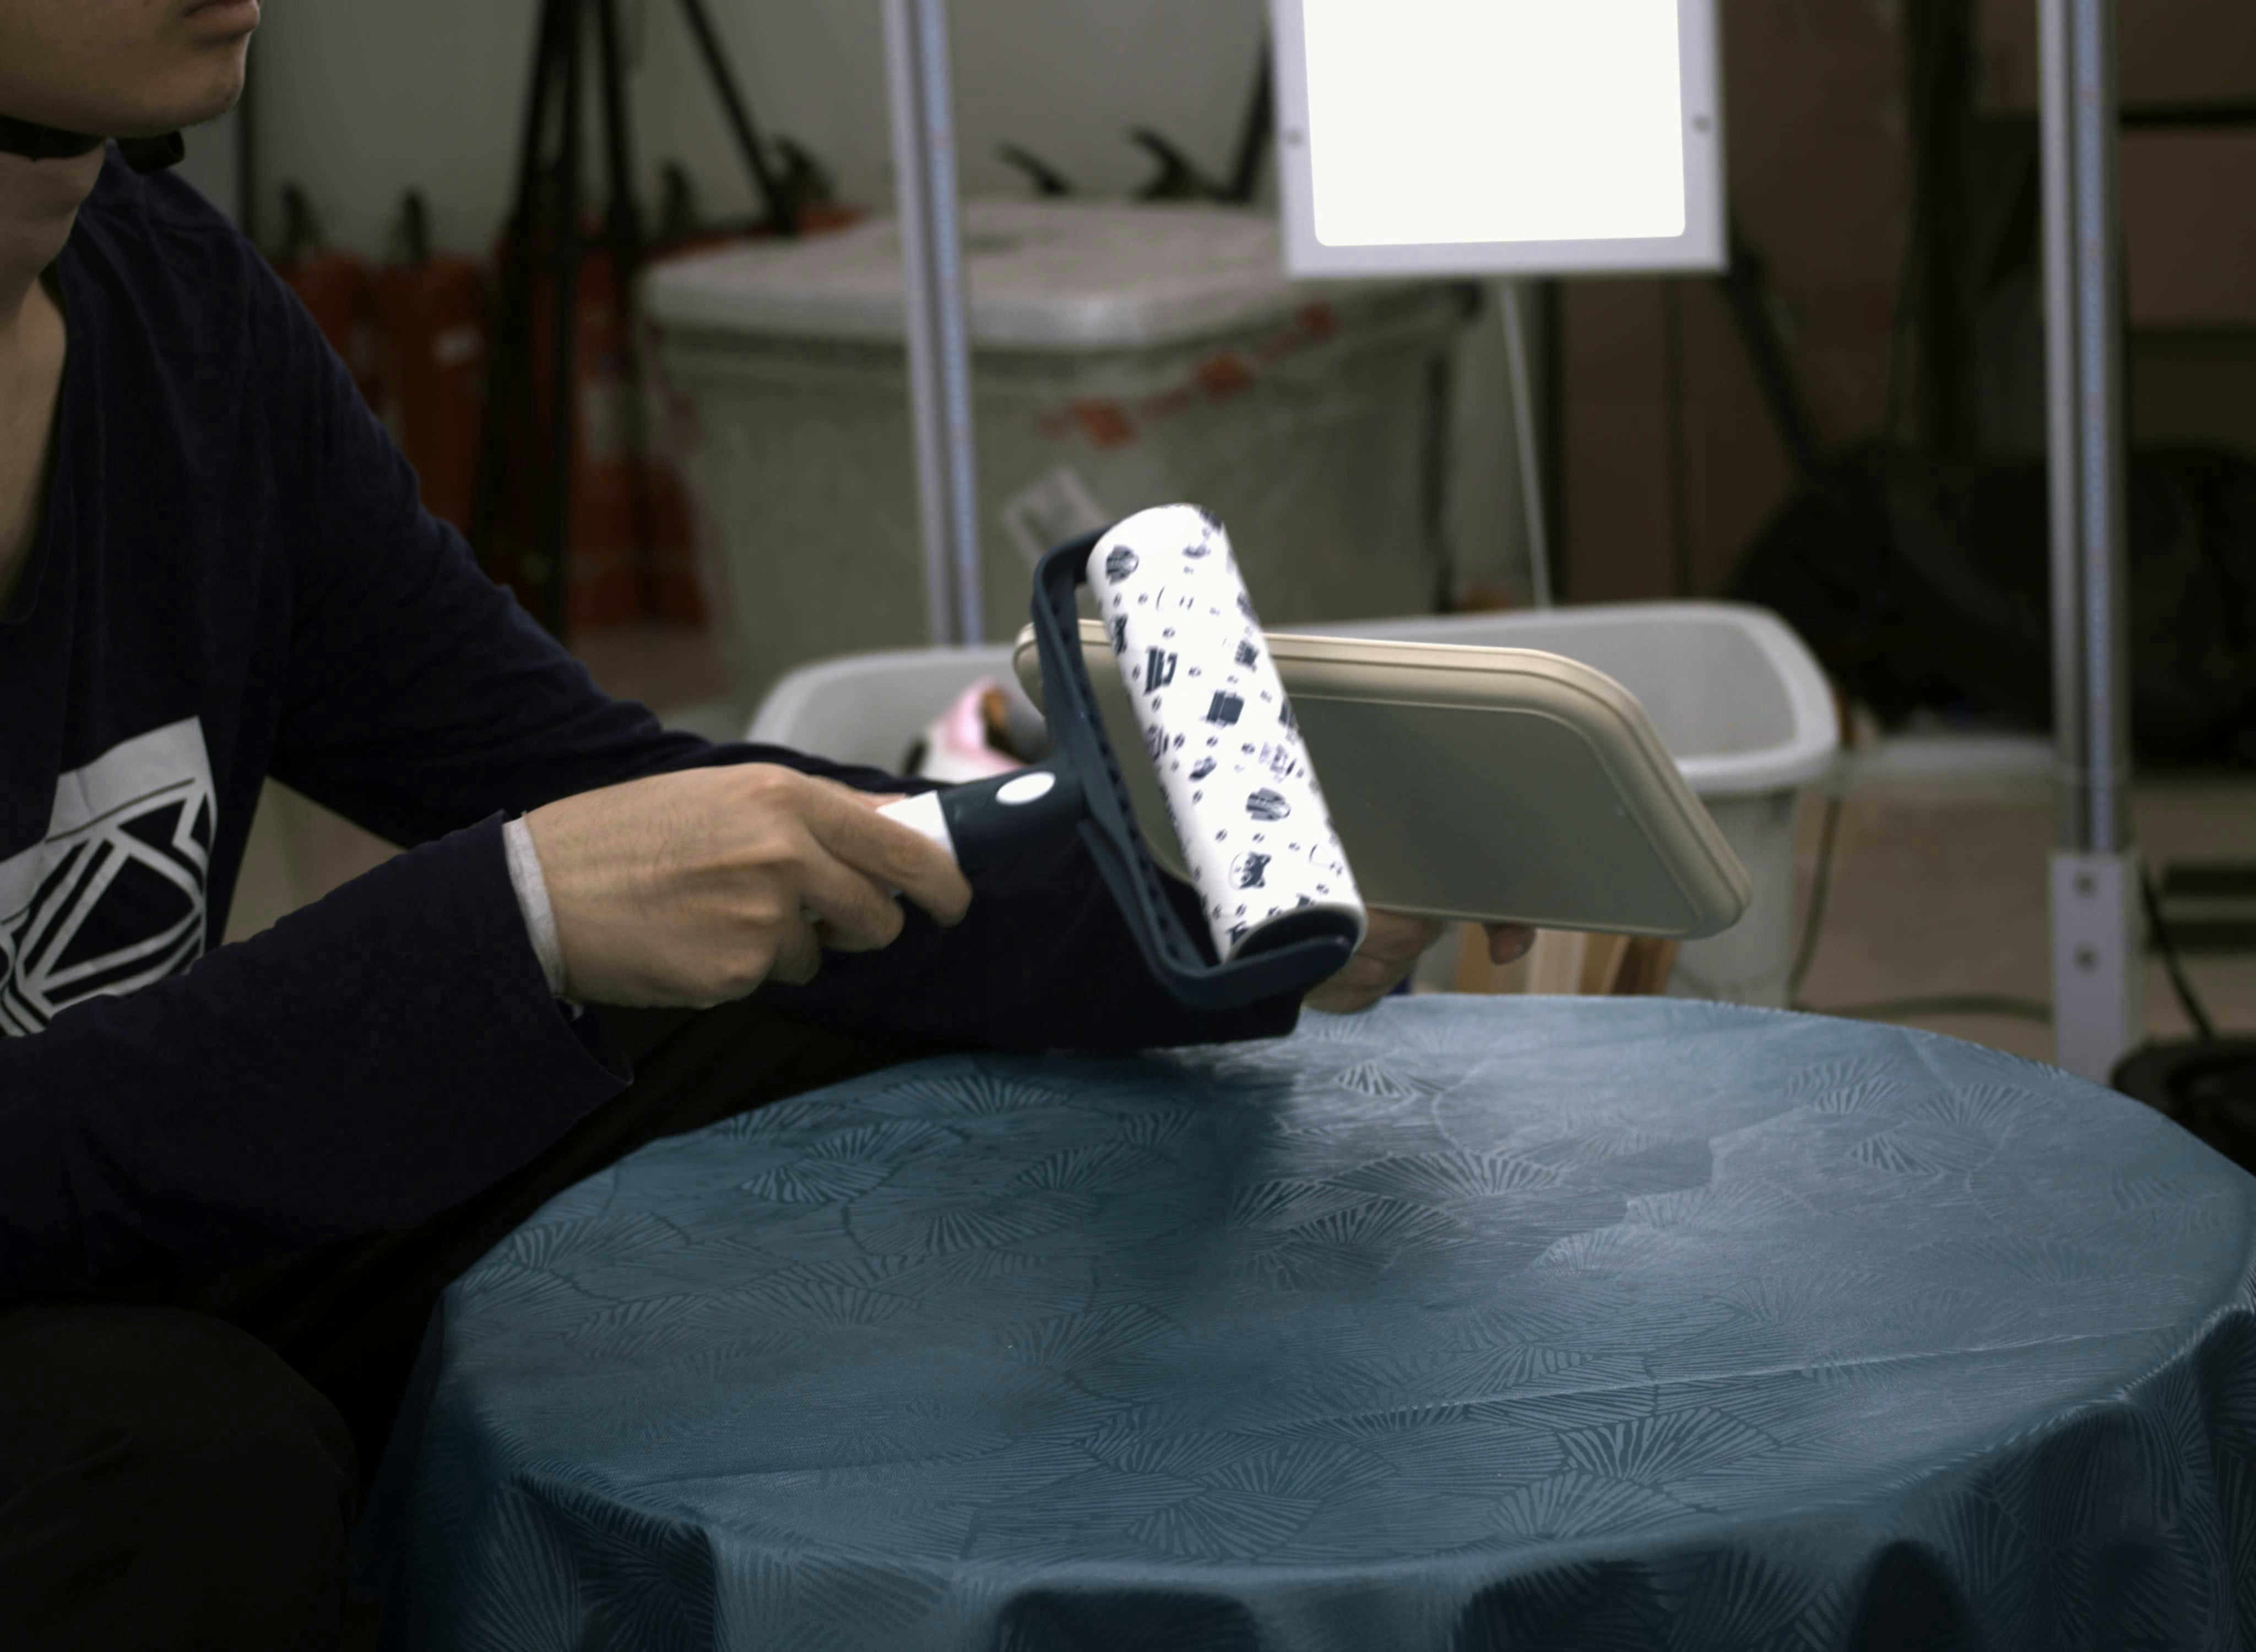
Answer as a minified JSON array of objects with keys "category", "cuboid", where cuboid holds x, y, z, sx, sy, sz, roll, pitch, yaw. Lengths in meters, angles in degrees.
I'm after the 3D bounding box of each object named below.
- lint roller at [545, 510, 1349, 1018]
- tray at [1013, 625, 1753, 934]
[{"category":"lint roller","cuboid":[-0.068,0.007,1.751,0.246,0.050,0.177,-18,58,-1]},{"category":"tray","cuboid":[0.085,-0.015,1.880,0.244,0.169,0.017,5,60,33]}]
